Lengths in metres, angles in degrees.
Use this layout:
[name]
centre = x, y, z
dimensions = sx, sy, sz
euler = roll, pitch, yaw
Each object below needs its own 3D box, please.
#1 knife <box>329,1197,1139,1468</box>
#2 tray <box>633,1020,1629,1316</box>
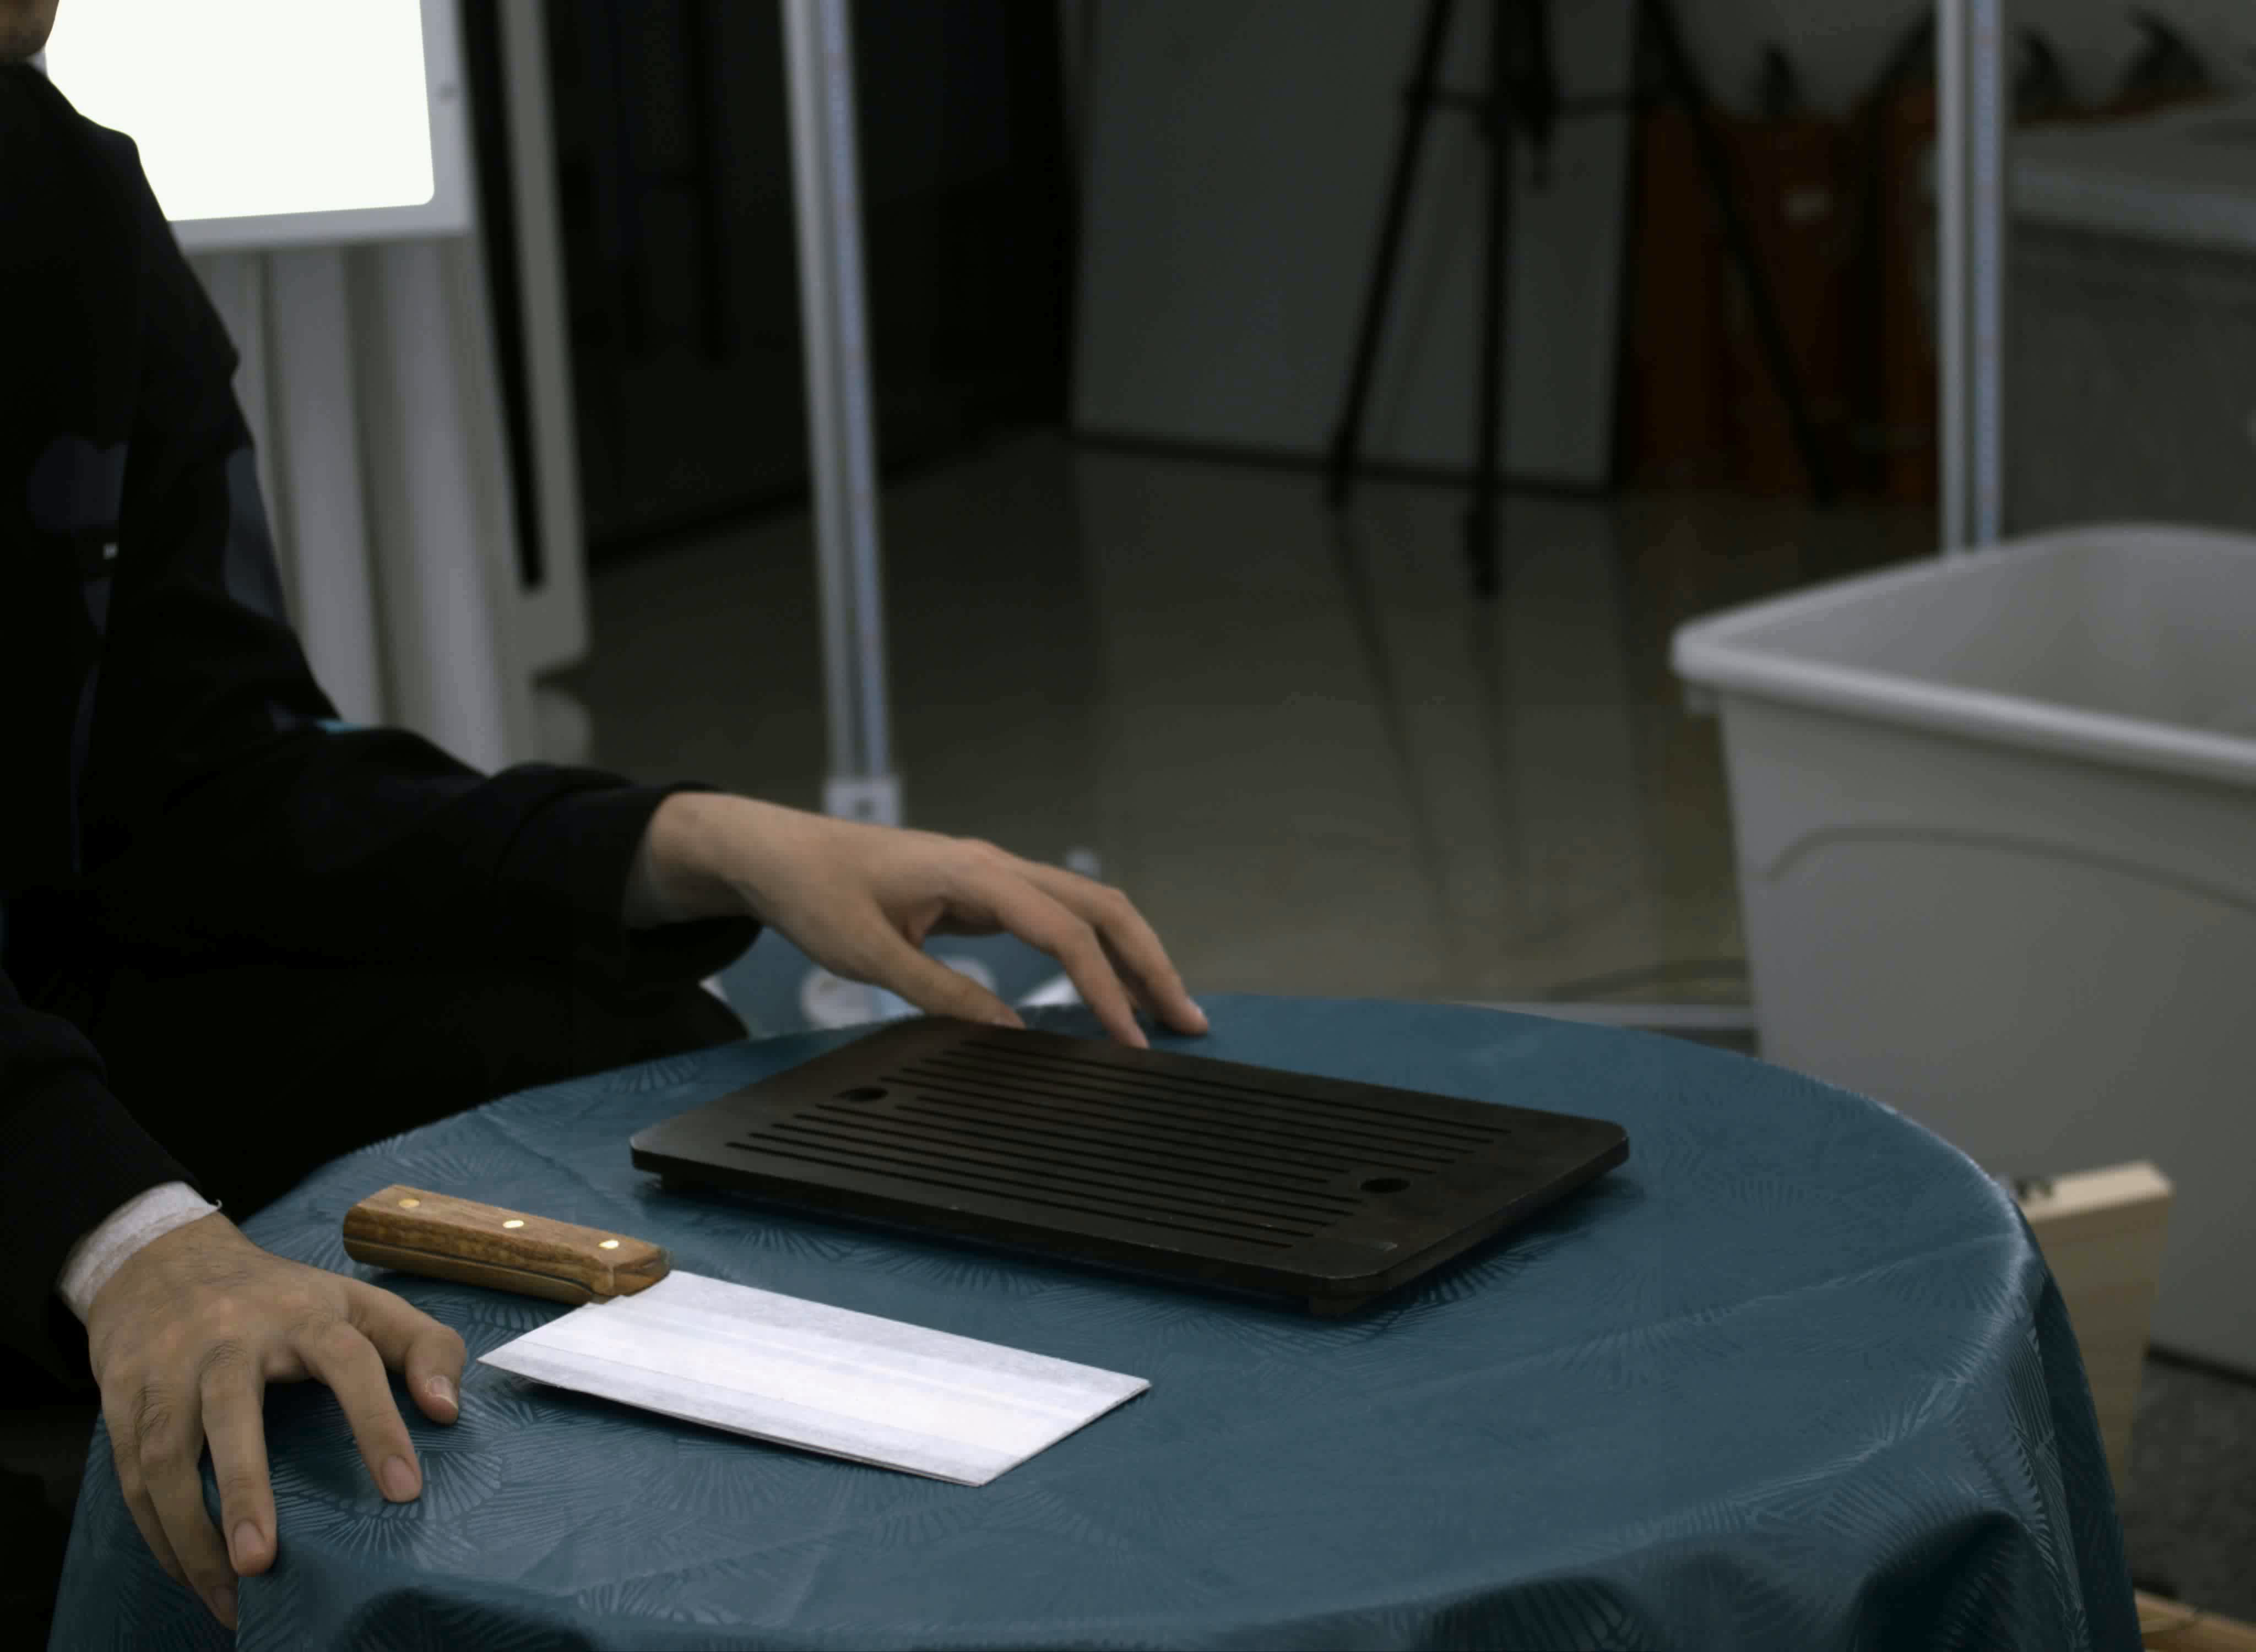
[knife]
centre = -0.140, 0.156, 1.641
dimensions = 0.307, 0.021, 0.091
euler = 9, 20, 35
[tray]
centre = -0.001, 0.110, 1.778
dimensions = 0.308, 0.019, 0.167
euler = 7, 18, 38
